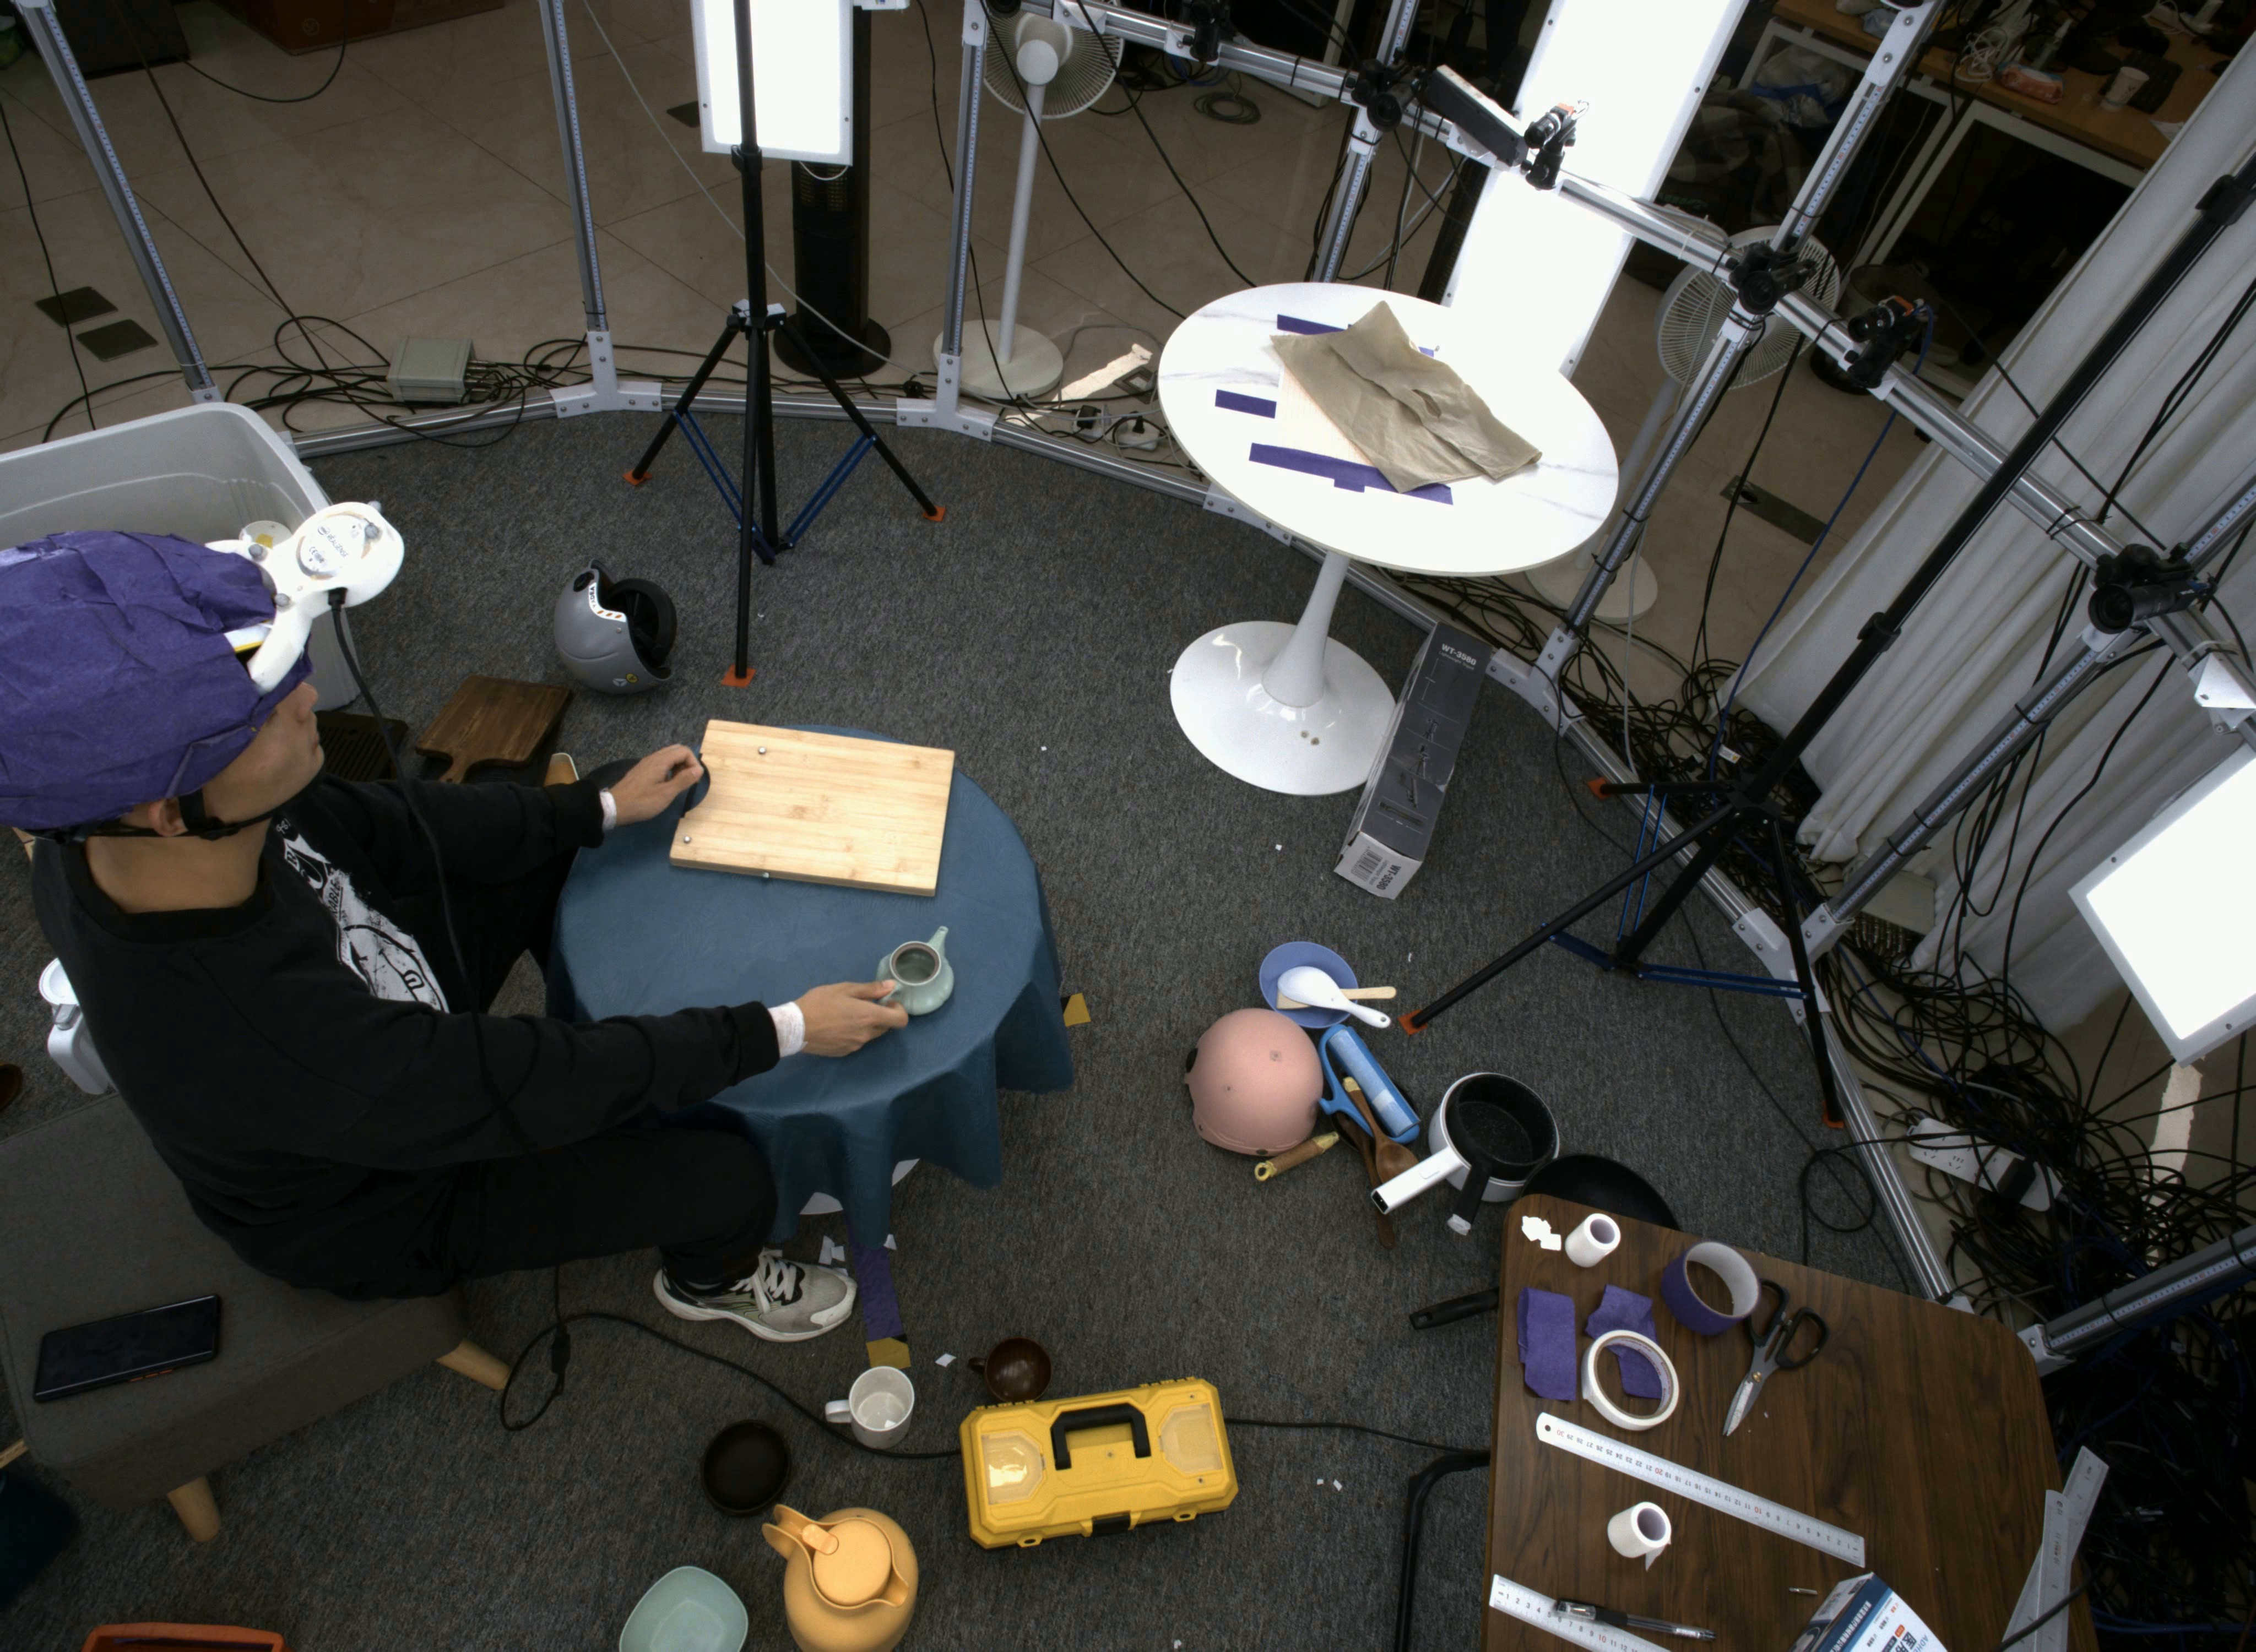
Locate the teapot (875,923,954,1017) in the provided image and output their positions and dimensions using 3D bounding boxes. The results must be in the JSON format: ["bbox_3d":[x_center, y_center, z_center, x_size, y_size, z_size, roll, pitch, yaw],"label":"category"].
[{"bbox_3d":[-0.263,0.182,1.588,0.095,0.062,0.136,29,52,7],"label":"teapot"}]

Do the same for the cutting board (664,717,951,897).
[{"bbox_3d":[-0.420,-0.029,1.734,0.348,0.024,0.246,7,52,-10],"label":"cutting board"}]
